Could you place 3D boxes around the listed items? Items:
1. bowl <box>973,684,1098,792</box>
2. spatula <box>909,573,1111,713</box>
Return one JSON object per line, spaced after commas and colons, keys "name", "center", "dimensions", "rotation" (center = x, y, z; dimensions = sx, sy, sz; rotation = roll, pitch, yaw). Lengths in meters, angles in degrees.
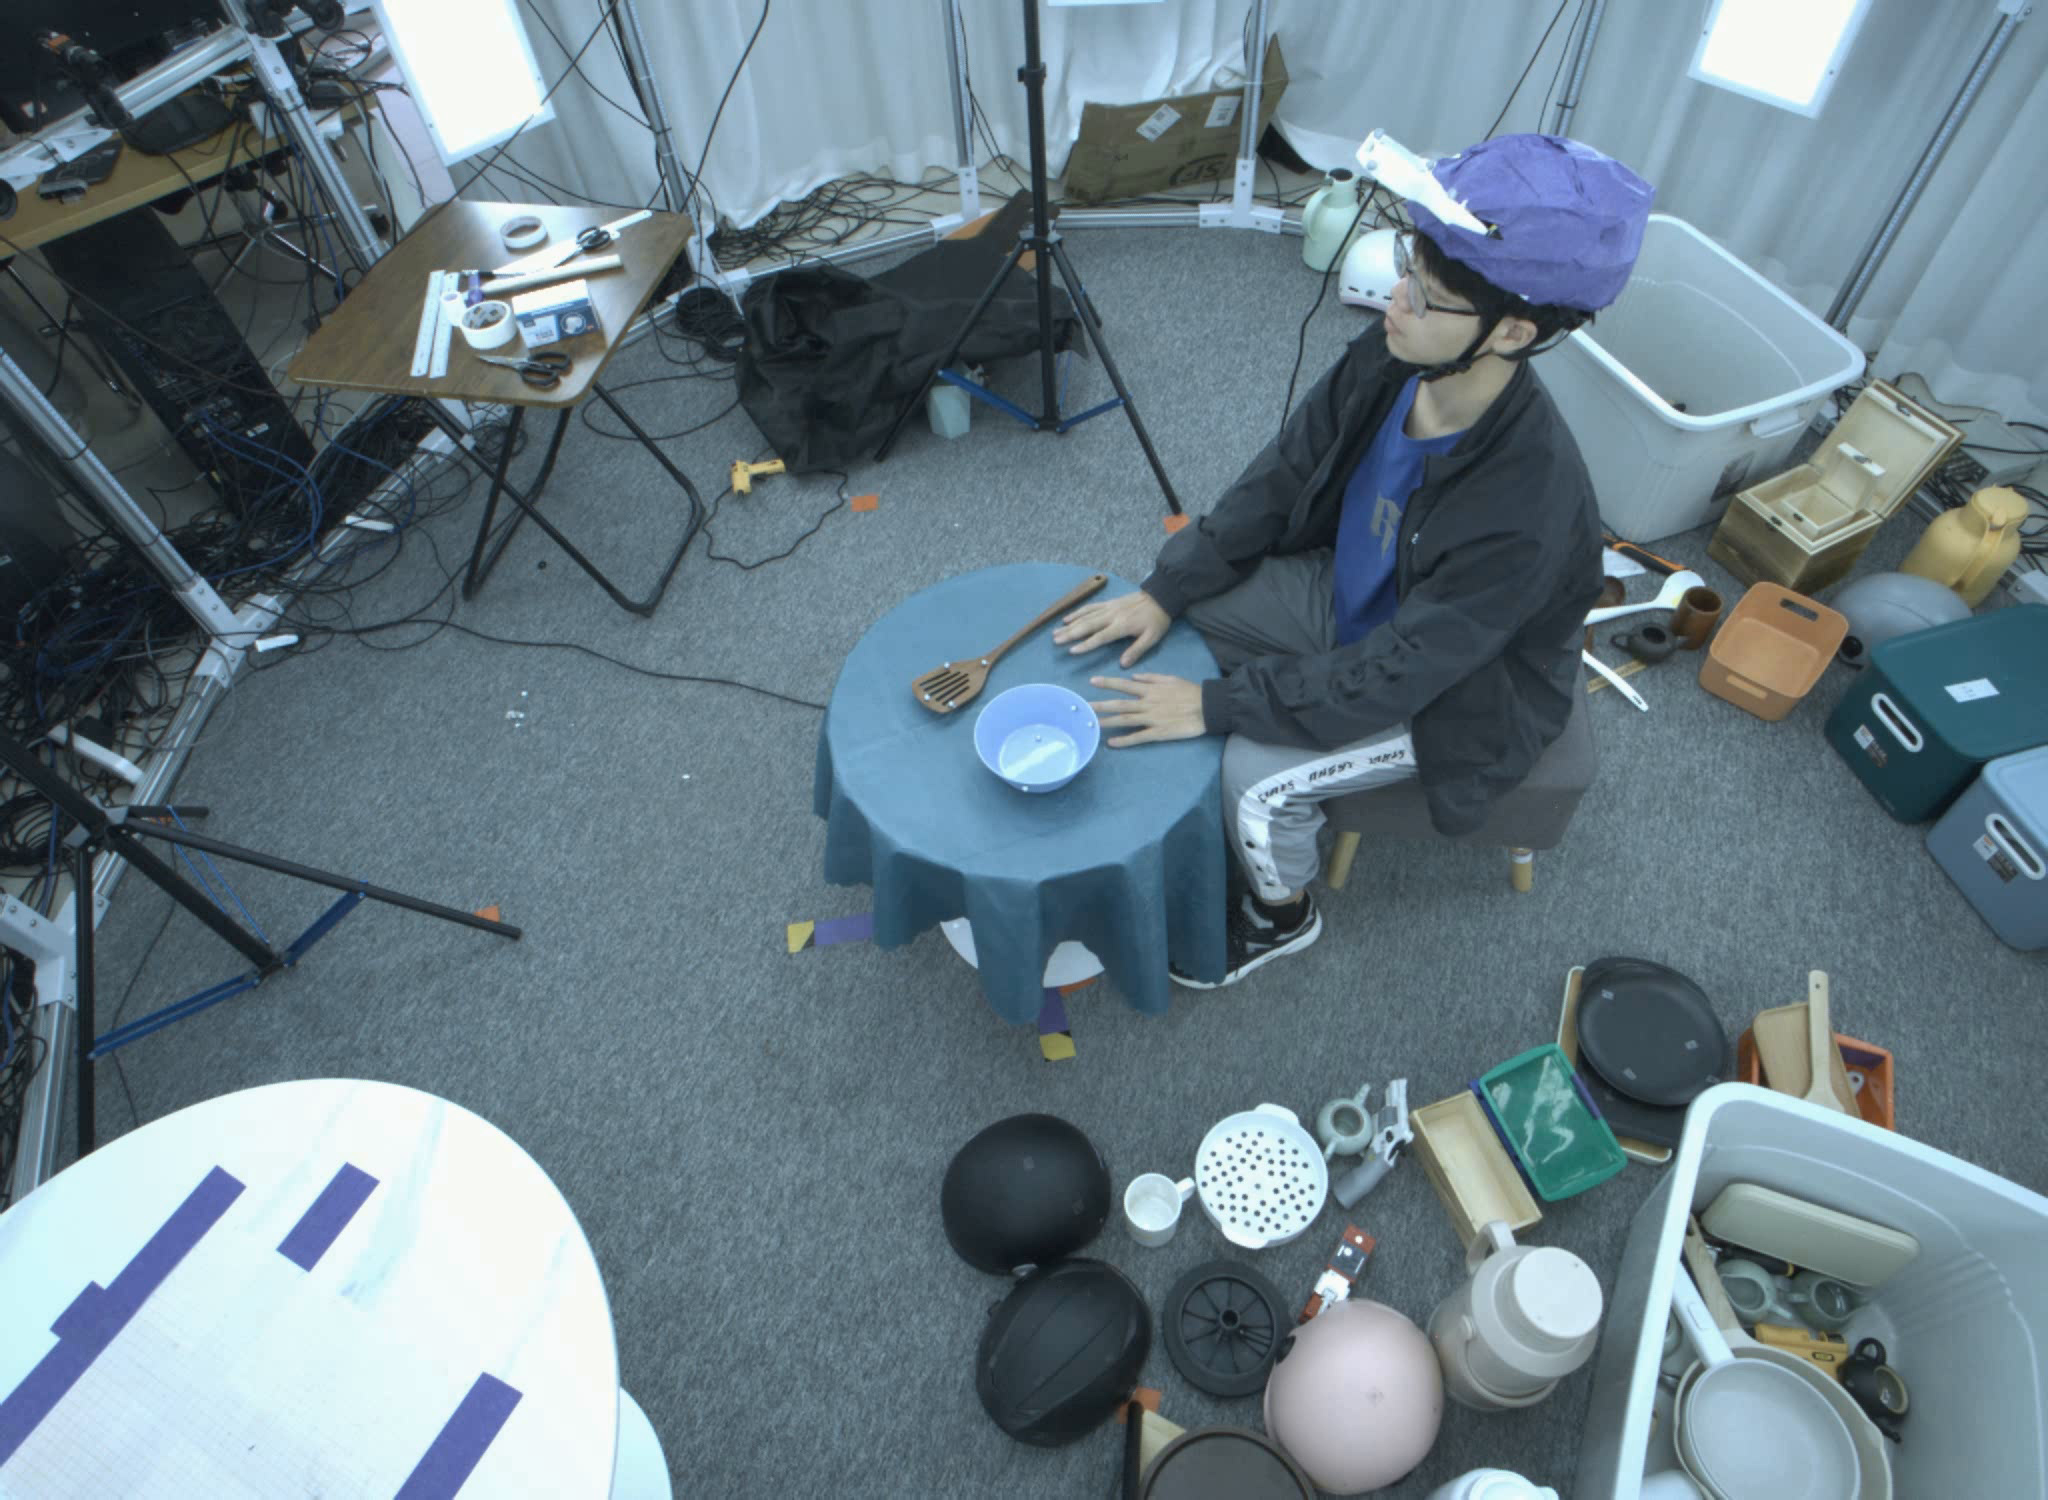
{"name": "bowl", "center": [0.017, -0.006, 1.738], "dimensions": [0.176, 0.071, 0.174], "rotation": [0, 54, 1]}
{"name": "spatula", "center": [-0.009, -0.173, 1.890], "dimensions": [0.390, 0.024, 0.084], "rotation": [-36, 62, -23]}
